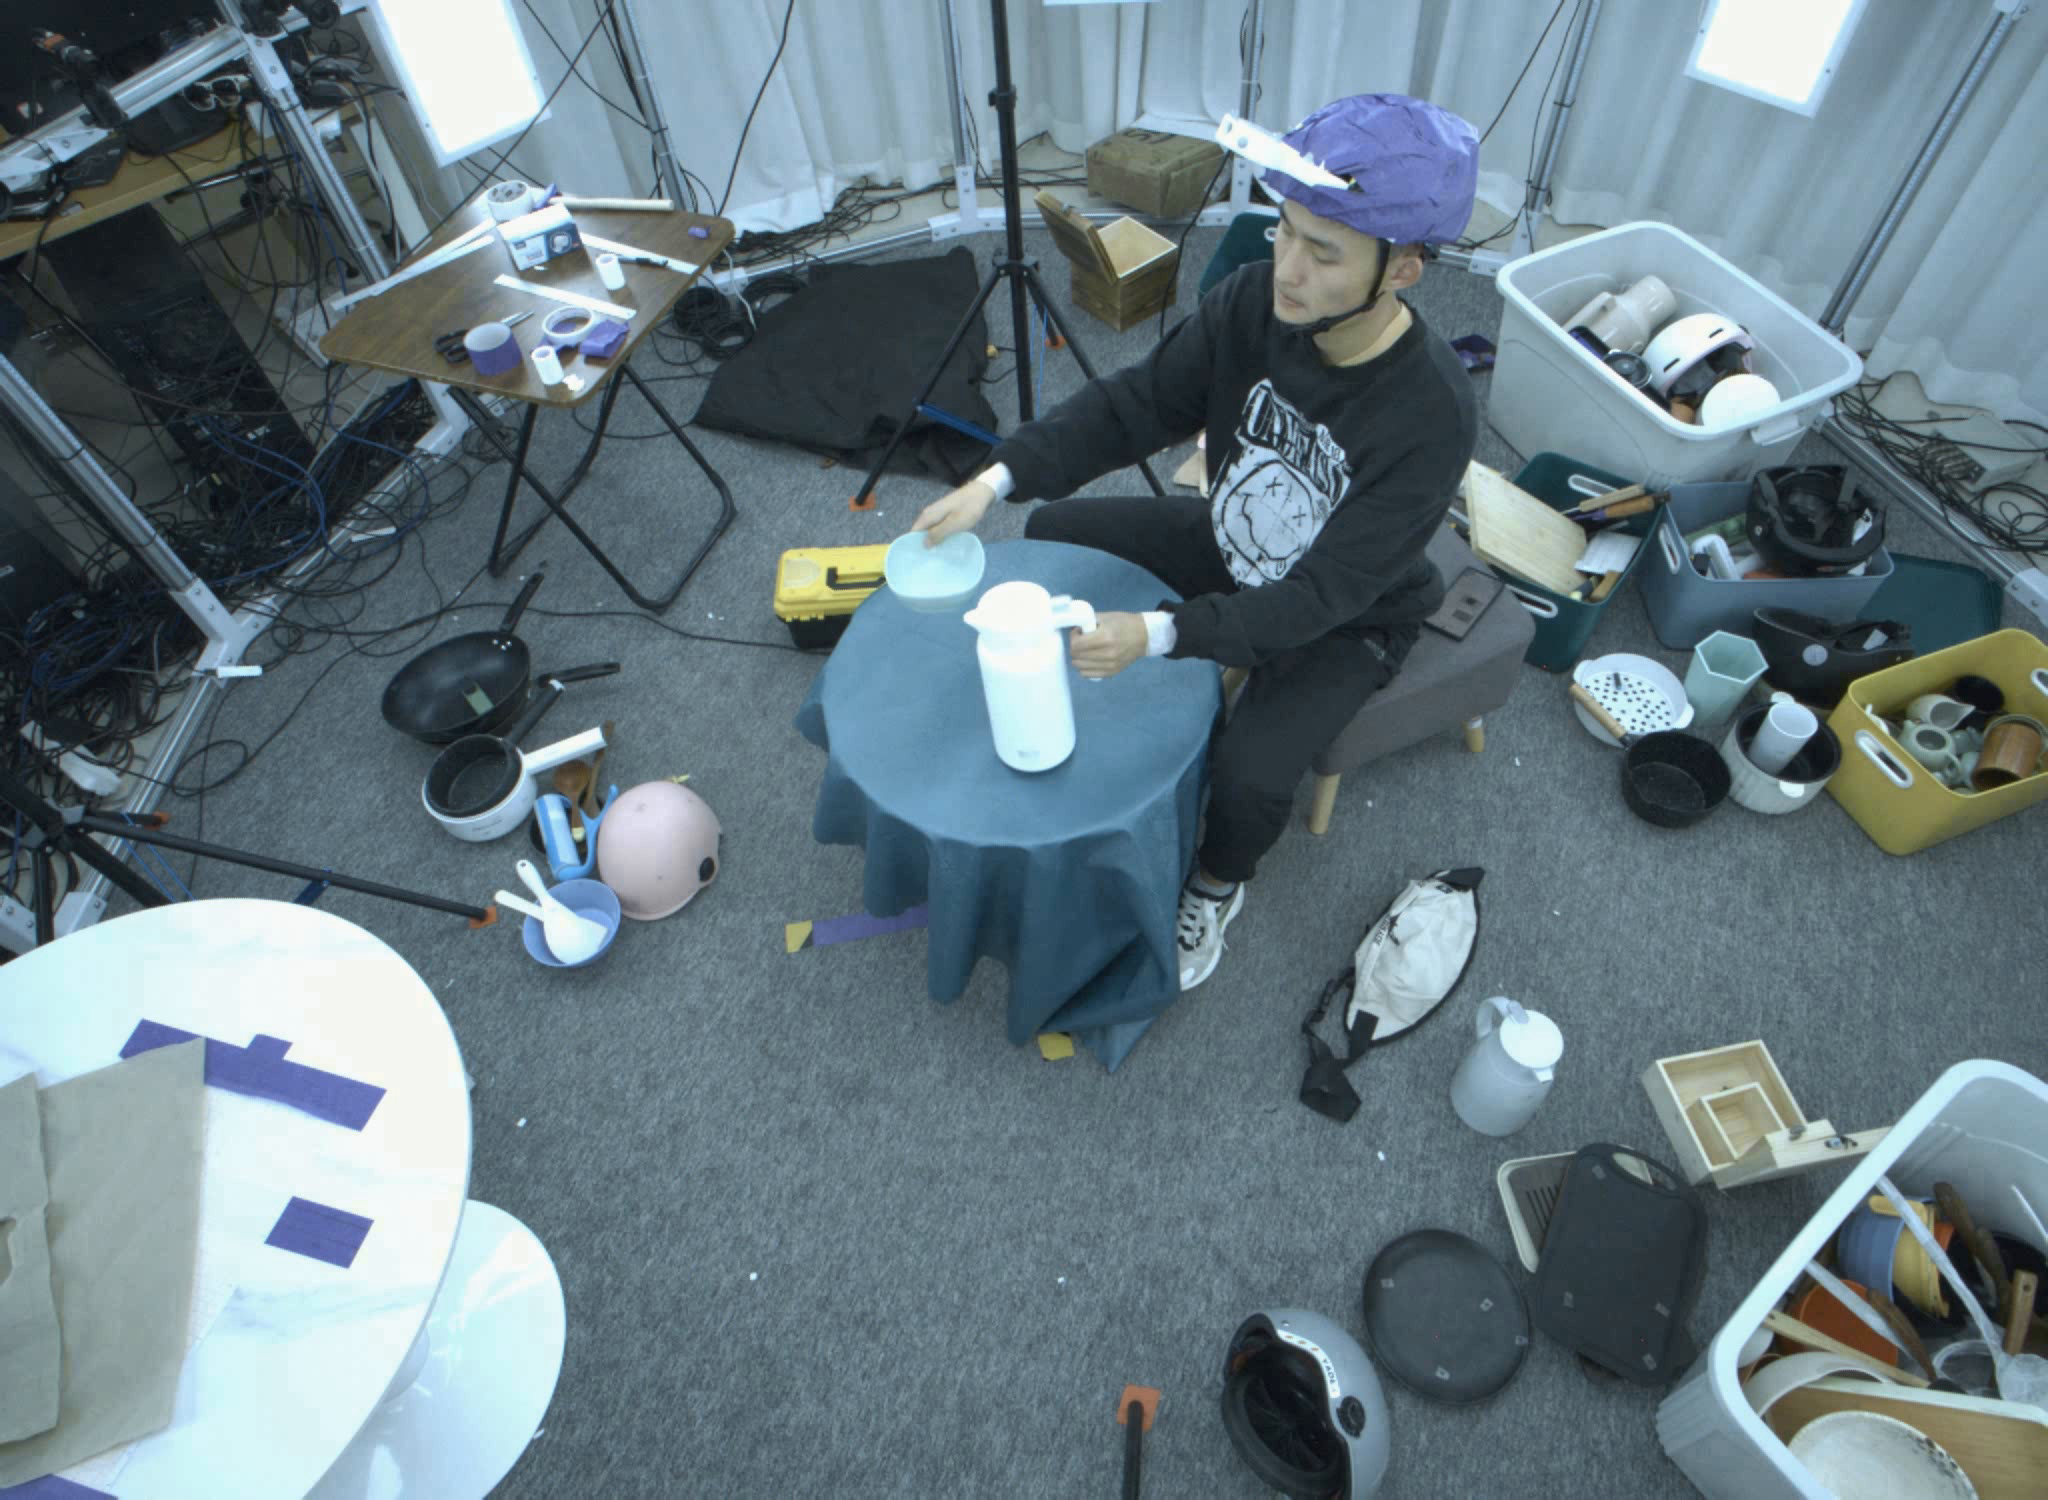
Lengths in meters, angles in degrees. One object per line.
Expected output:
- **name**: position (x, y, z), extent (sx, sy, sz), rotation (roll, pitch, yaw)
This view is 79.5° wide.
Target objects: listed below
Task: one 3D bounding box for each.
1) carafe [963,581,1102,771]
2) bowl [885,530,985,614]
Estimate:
- **carafe**: position (0.019, -0.101, 1.684), extent (0.173, 0.272, 0.122), rotation (-9, 46, 0)
- **bowl**: position (-0.122, -0.239, 1.707), extent (0.151, 0.059, 0.150), rotation (-1, 52, 2)
